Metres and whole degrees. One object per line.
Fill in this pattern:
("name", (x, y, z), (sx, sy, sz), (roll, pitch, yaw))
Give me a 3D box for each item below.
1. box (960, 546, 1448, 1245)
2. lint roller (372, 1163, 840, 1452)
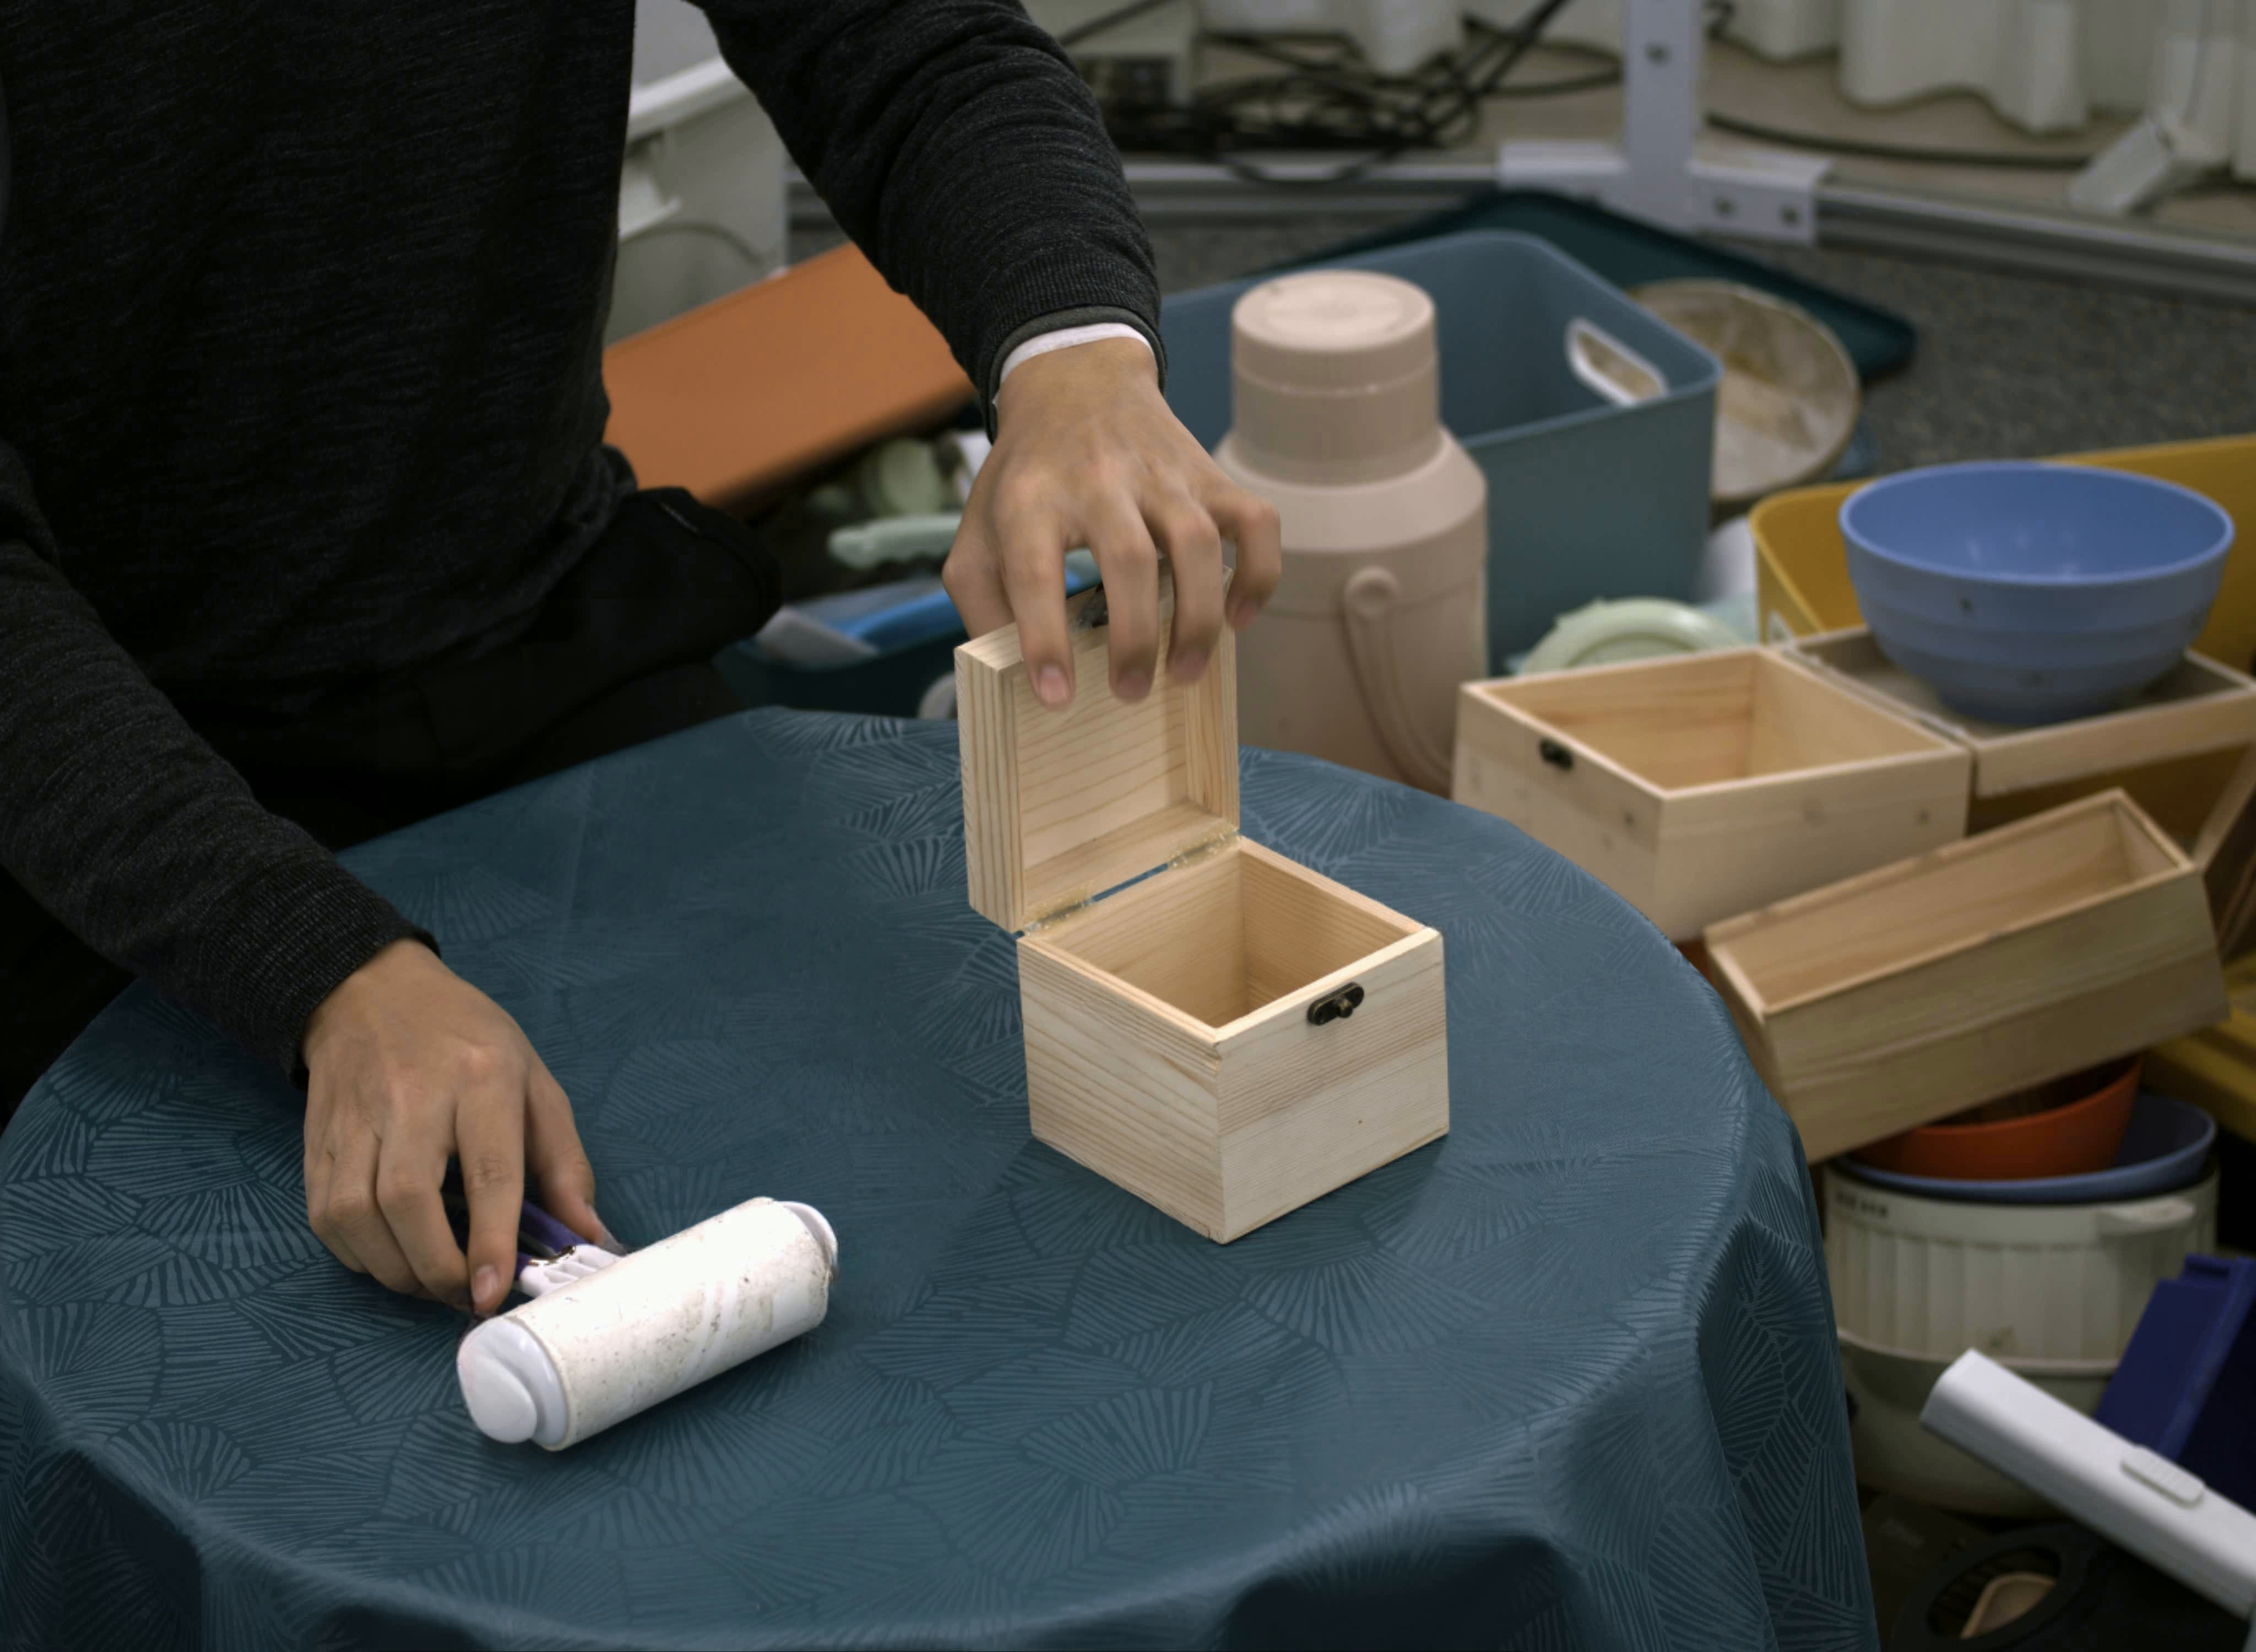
("box", (0.027, 0.021, 1.857), (0.103, 0.182, 0.134), (-22, 31, -34))
("lint roller", (-0.188, 0.133, 1.806), (0.134, 0.049, 0.181), (-23, 35, -32))
